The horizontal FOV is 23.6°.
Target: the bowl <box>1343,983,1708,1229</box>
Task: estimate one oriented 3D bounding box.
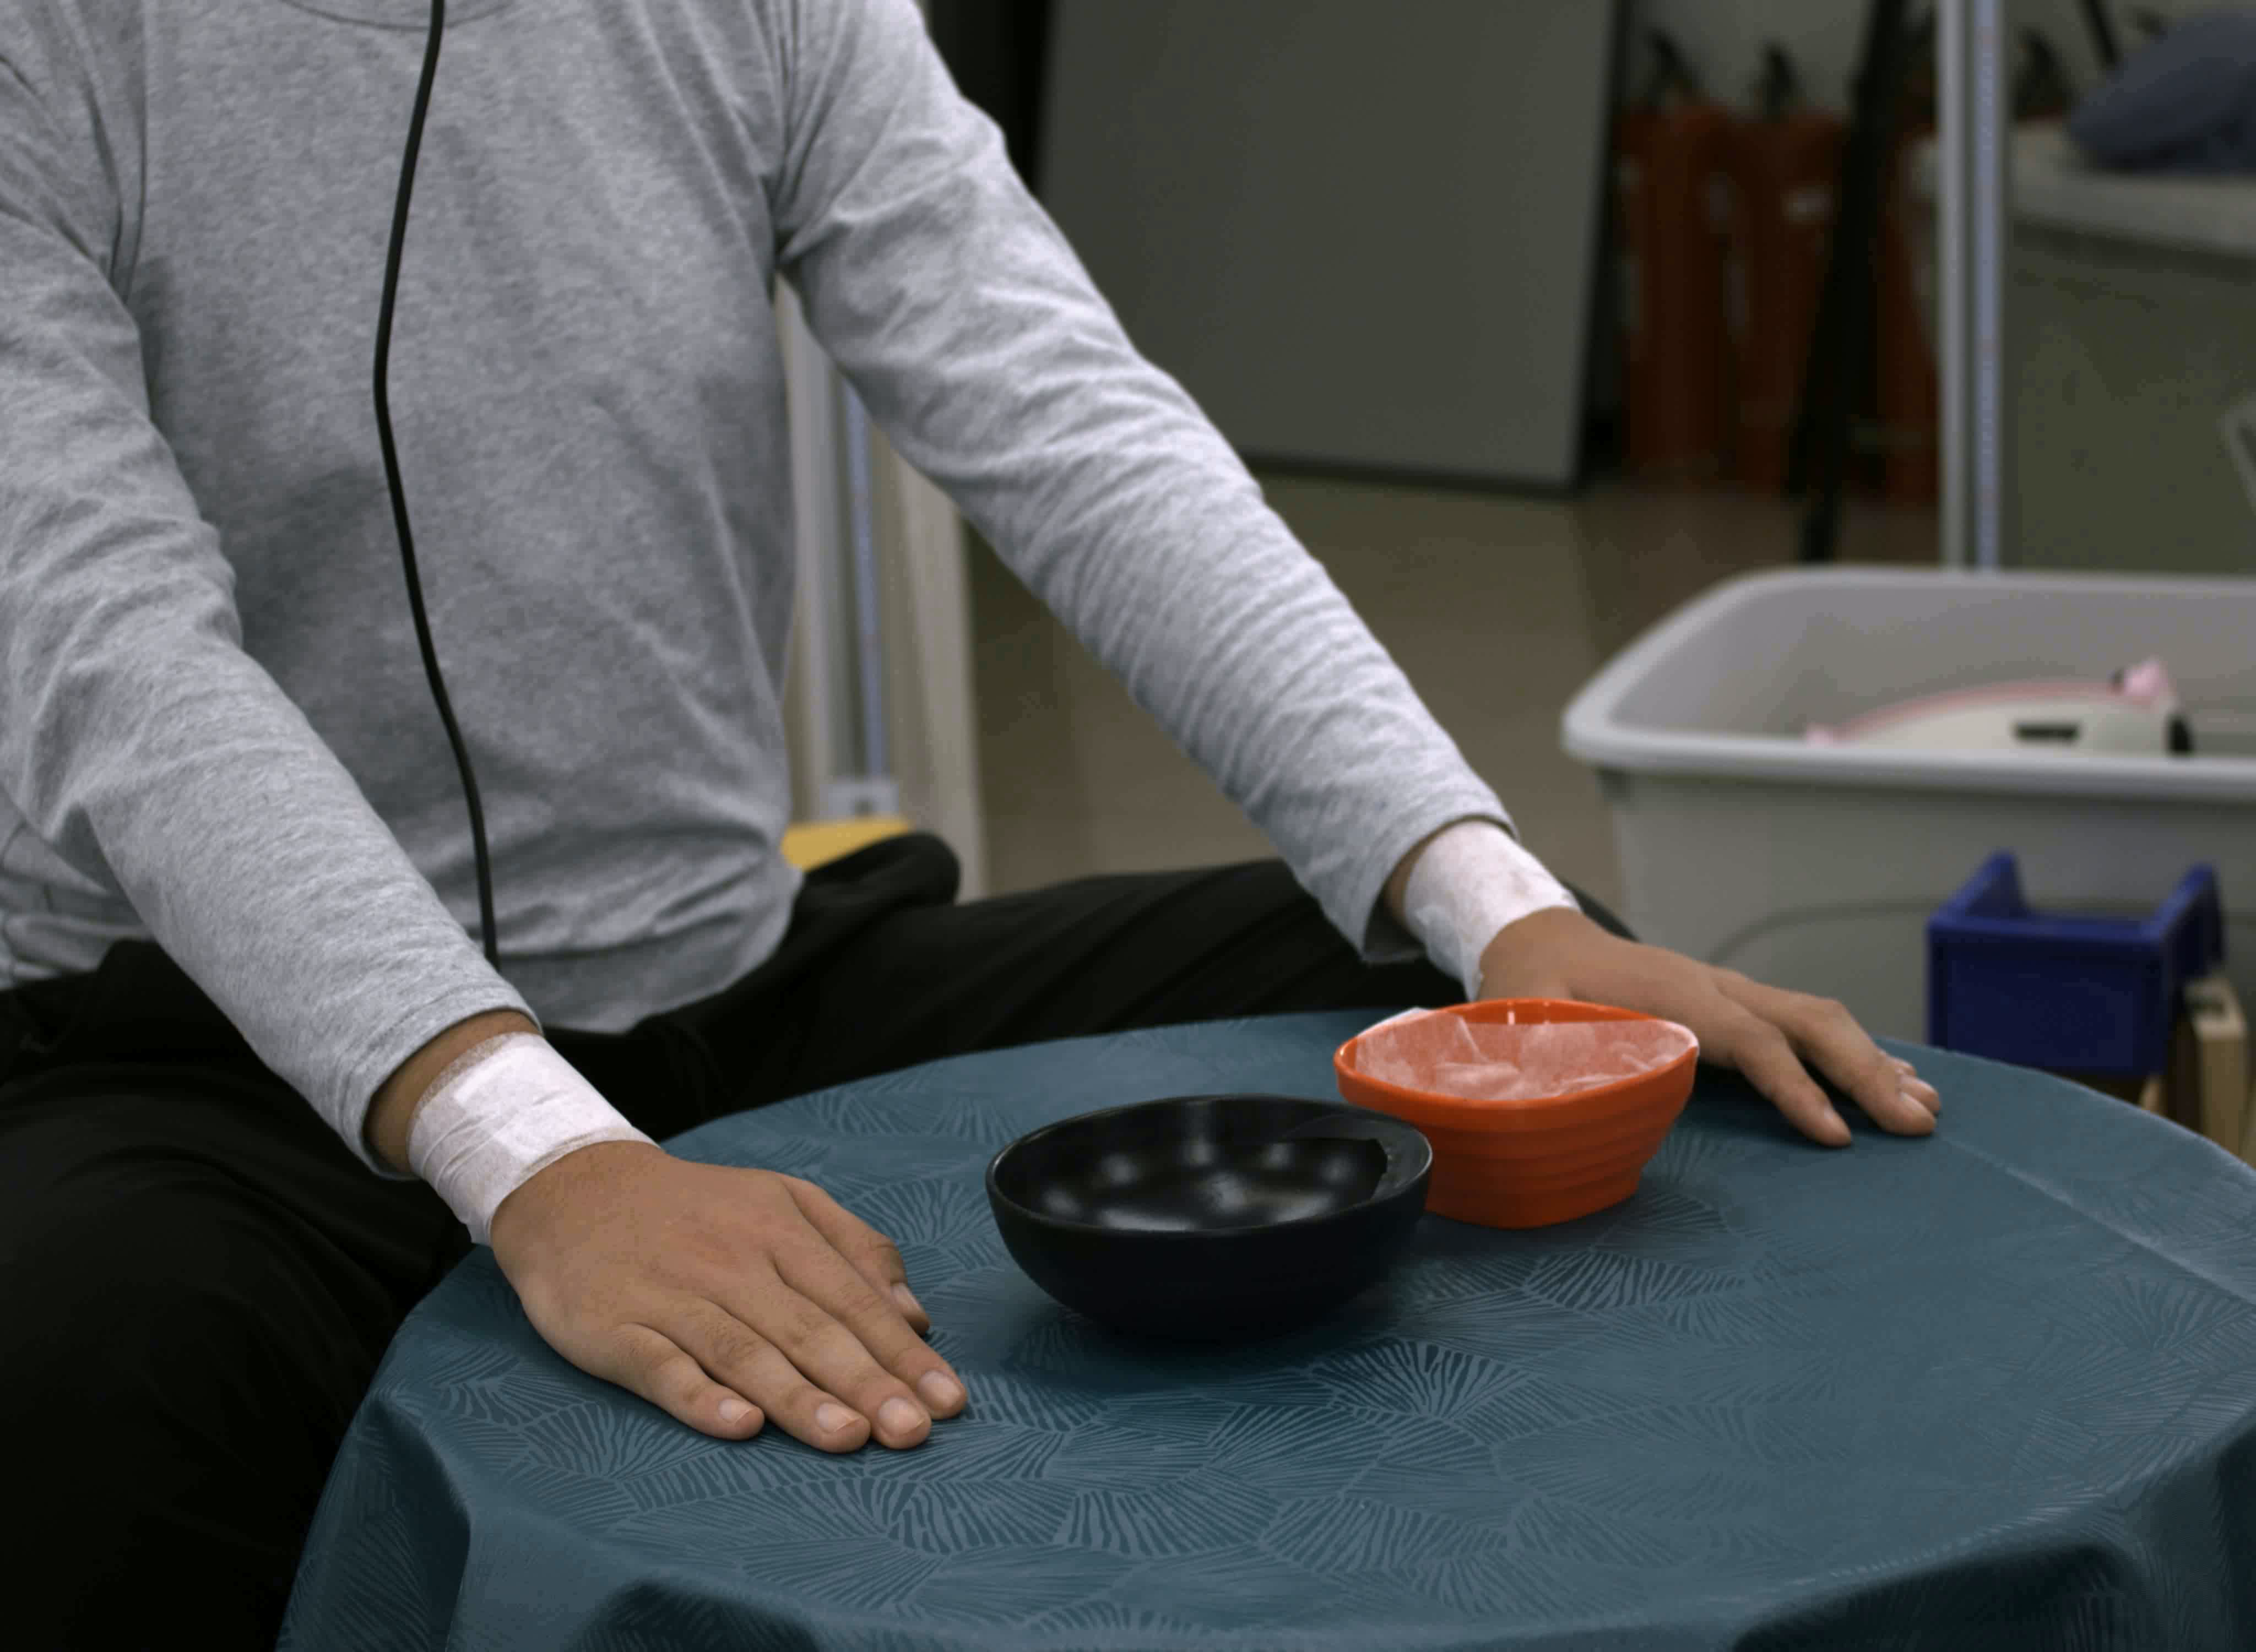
[{"bbox_3d":[0.129,0.092,1.738,0.117,0.052,0.119,-3,17,0],"label":"bowl"}]

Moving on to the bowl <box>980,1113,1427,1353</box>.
[{"bbox_3d":[0.025,0.128,1.648,0.138,0.050,0.140,-5,9,0],"label":"bowl"}]
